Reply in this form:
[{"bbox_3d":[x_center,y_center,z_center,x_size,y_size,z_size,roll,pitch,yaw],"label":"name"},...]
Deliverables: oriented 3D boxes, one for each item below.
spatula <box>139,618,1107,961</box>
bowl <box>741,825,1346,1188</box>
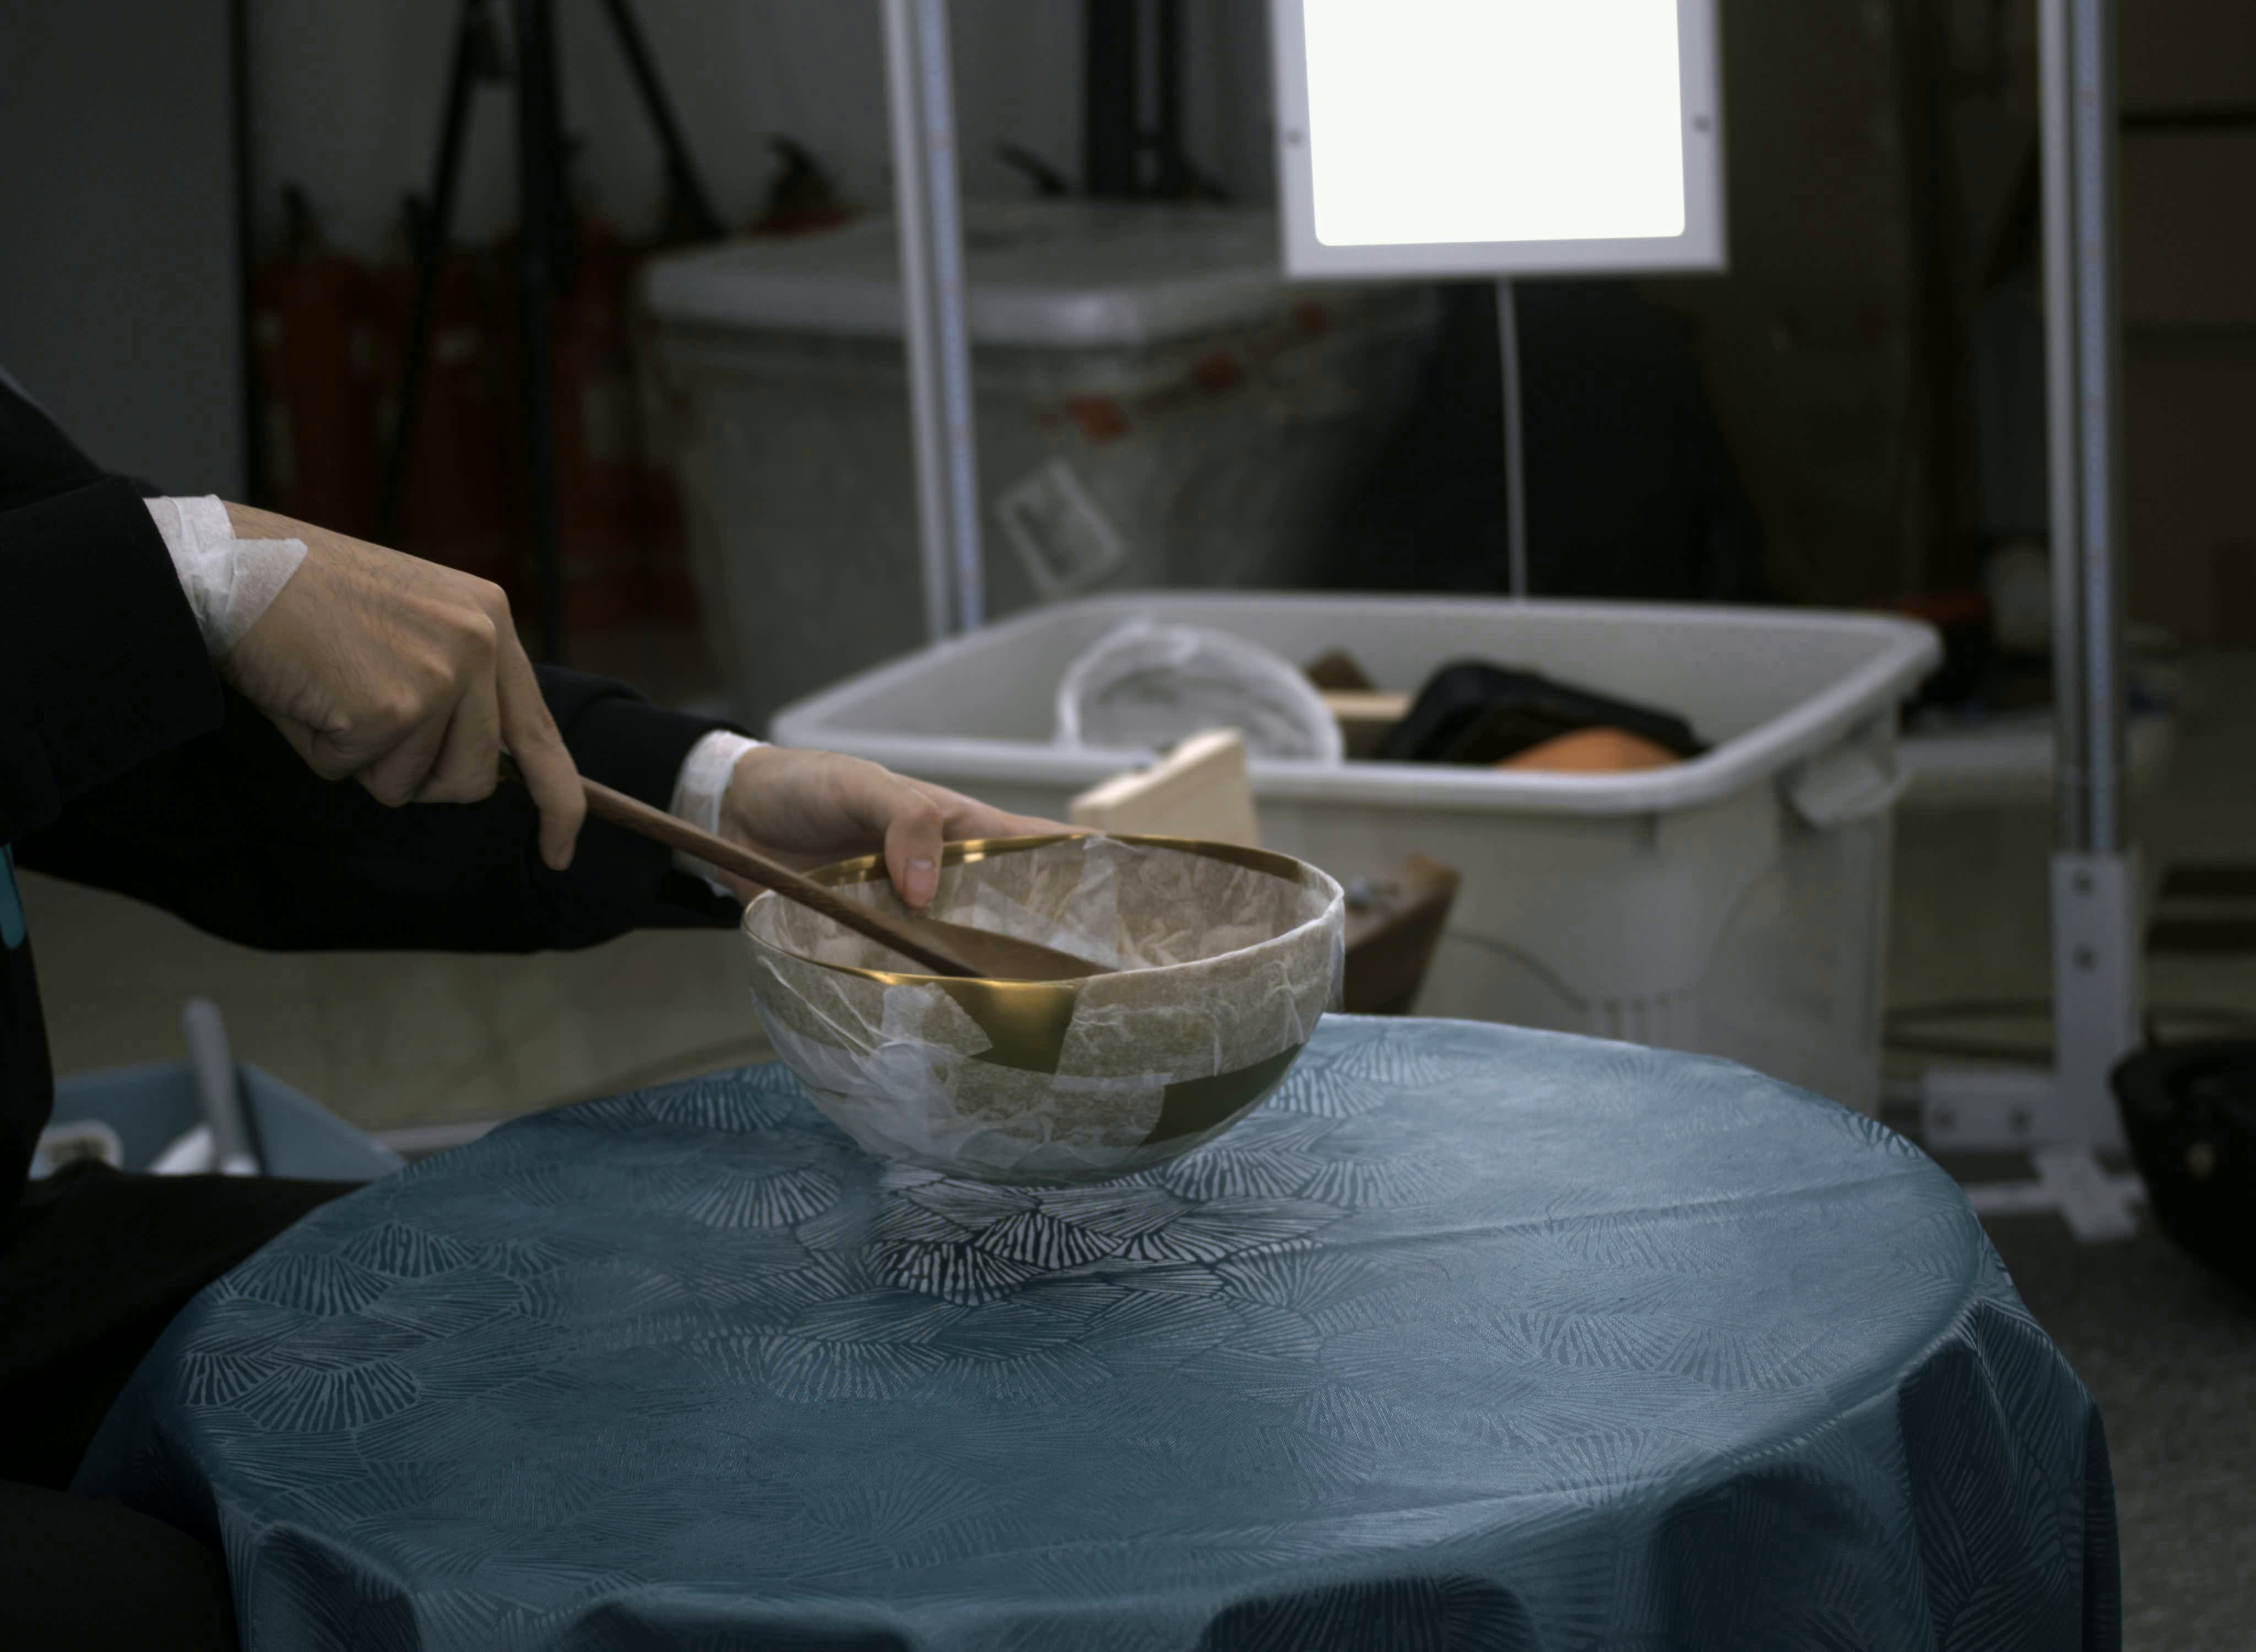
[{"bbox_3d":[-0.146,0.002,1.816,0.380,0.016,0.097,23,8,-21],"label":"spatula"},{"bbox_3d":[-0.028,0.066,1.841,0.214,0.095,0.214,-4,13,0],"label":"bowl"}]
